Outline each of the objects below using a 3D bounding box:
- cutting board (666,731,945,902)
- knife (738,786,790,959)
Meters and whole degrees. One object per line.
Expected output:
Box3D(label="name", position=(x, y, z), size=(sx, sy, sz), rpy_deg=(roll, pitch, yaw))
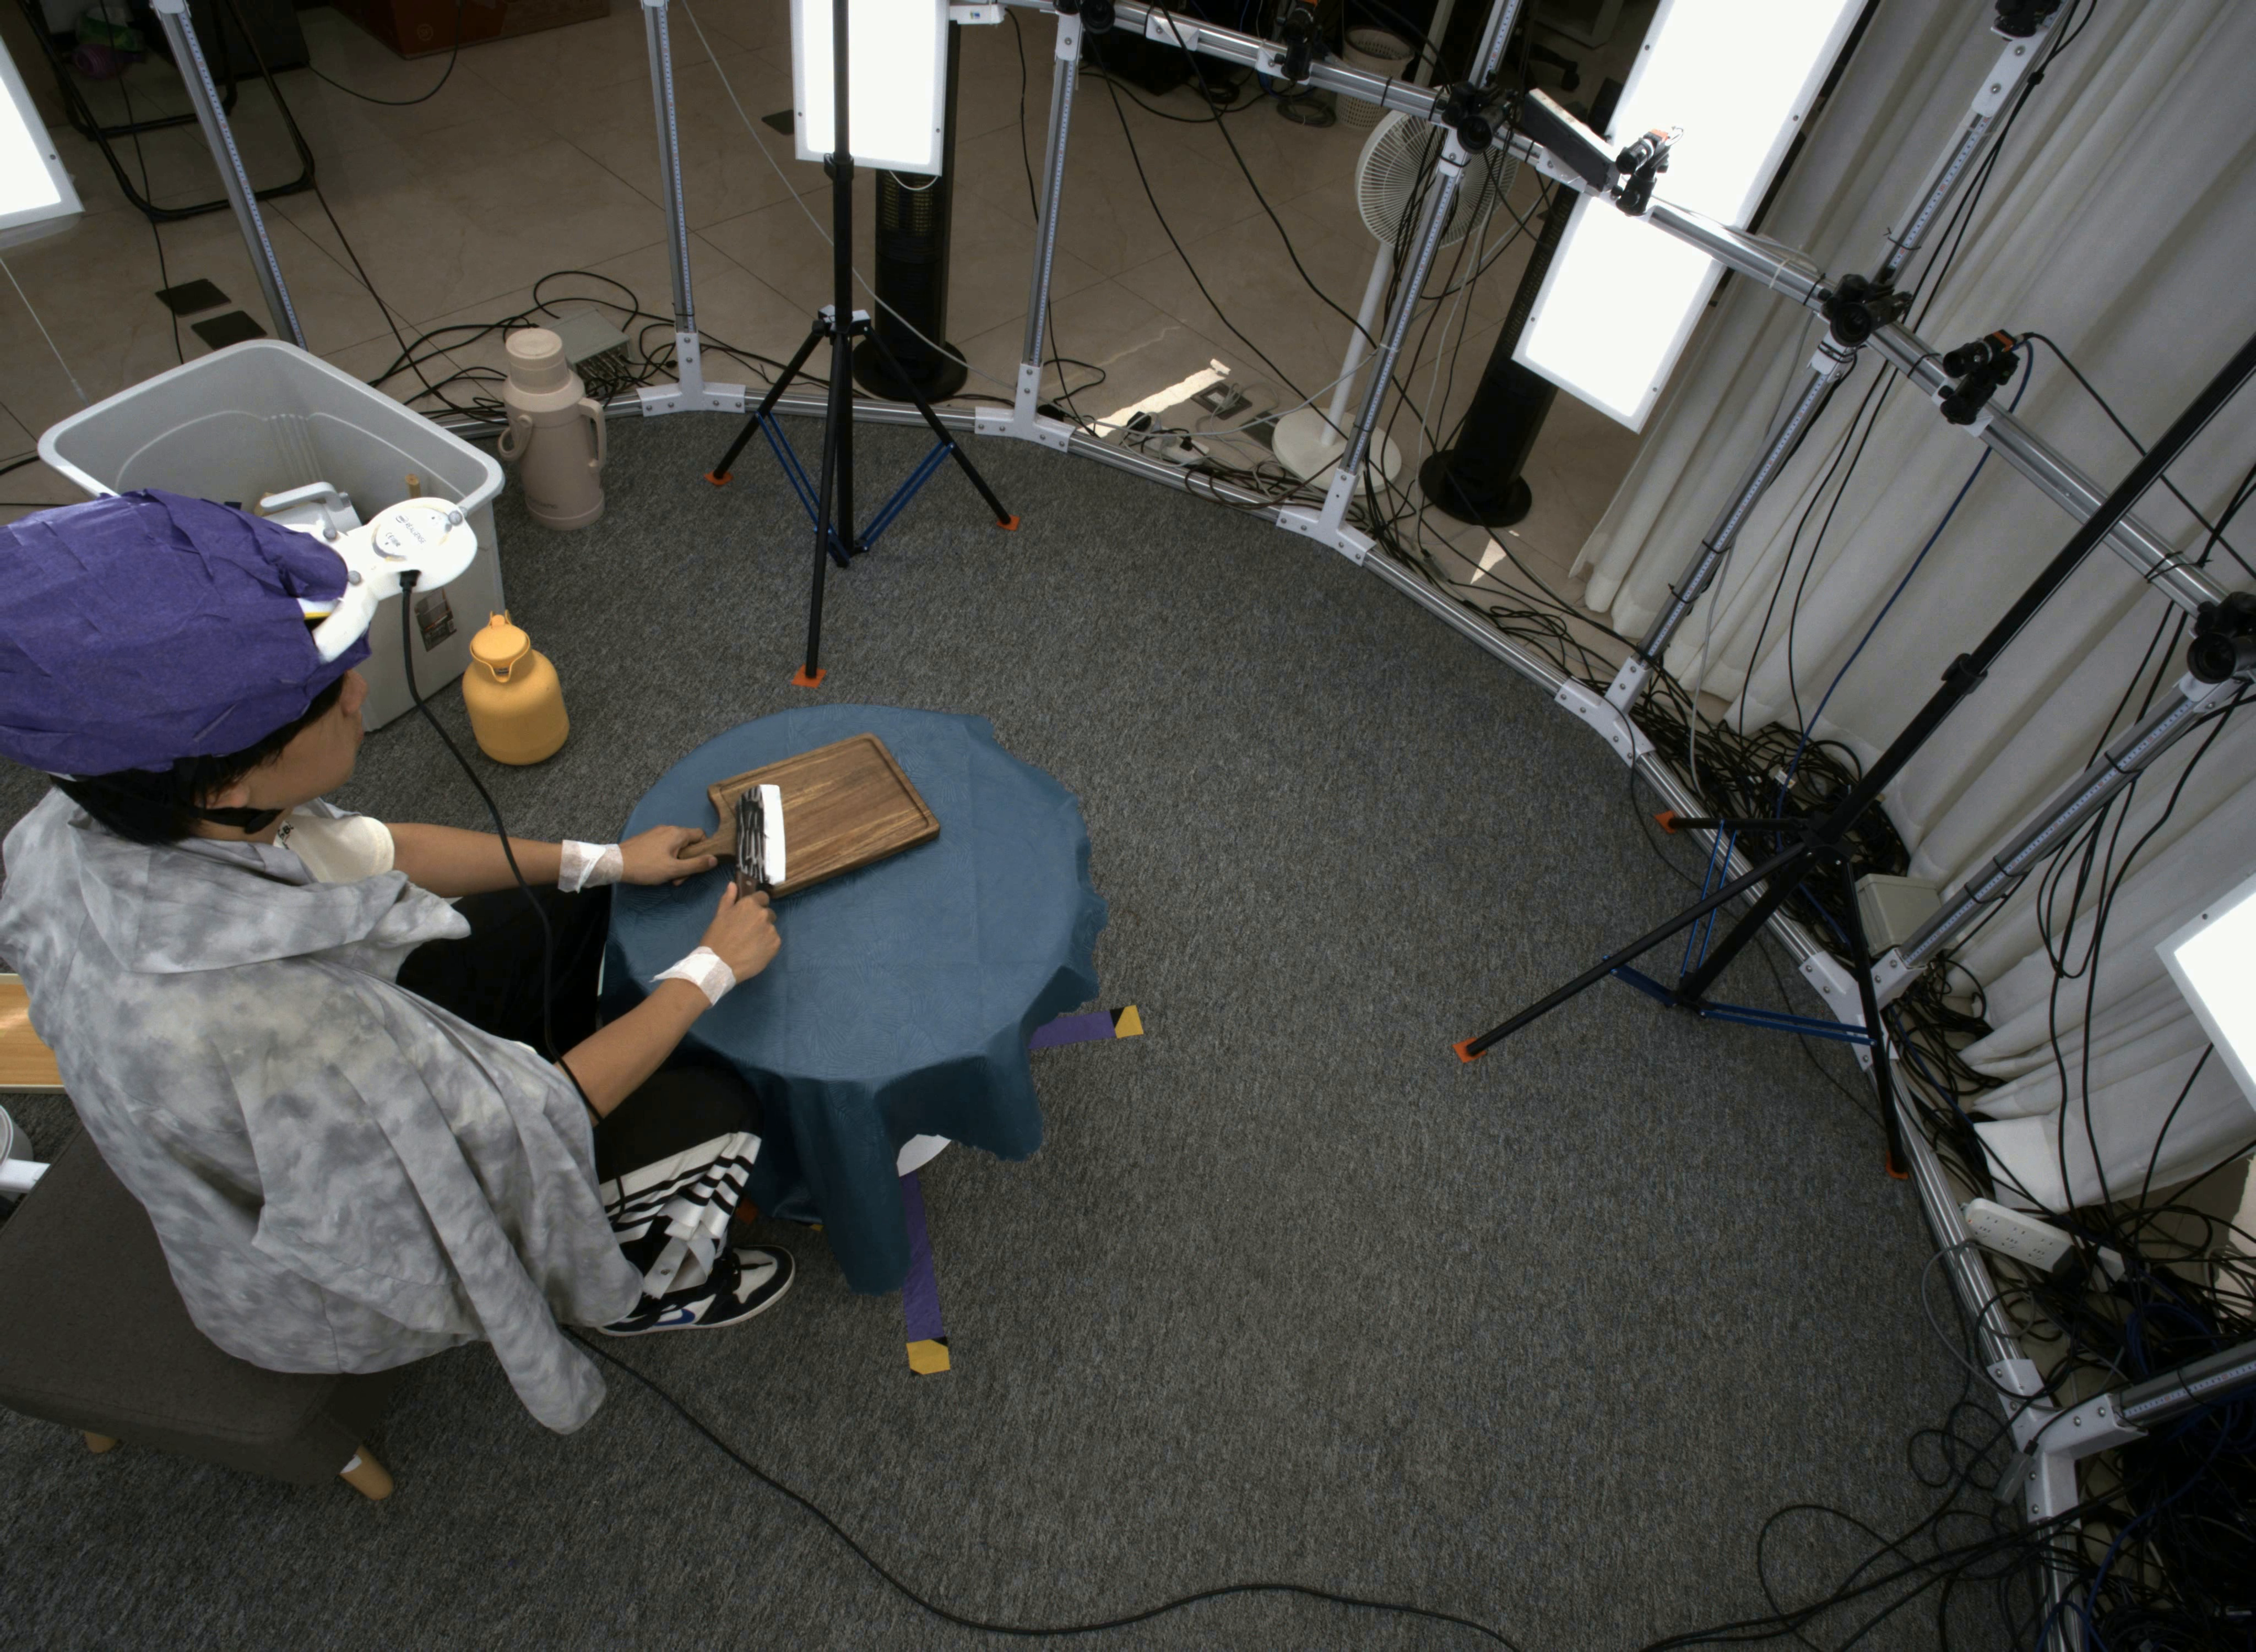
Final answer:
Box3D(label="cutting board", position=(-0.437, -0.004, 1.700), size=(0.354, 0.023, 0.196), rpy_deg=(-23, 62, -31))
Box3D(label="knife", position=(-0.453, 0.049, 1.615), size=(0.070, 0.024, 0.292), rpy_deg=(23, 38, -34))
